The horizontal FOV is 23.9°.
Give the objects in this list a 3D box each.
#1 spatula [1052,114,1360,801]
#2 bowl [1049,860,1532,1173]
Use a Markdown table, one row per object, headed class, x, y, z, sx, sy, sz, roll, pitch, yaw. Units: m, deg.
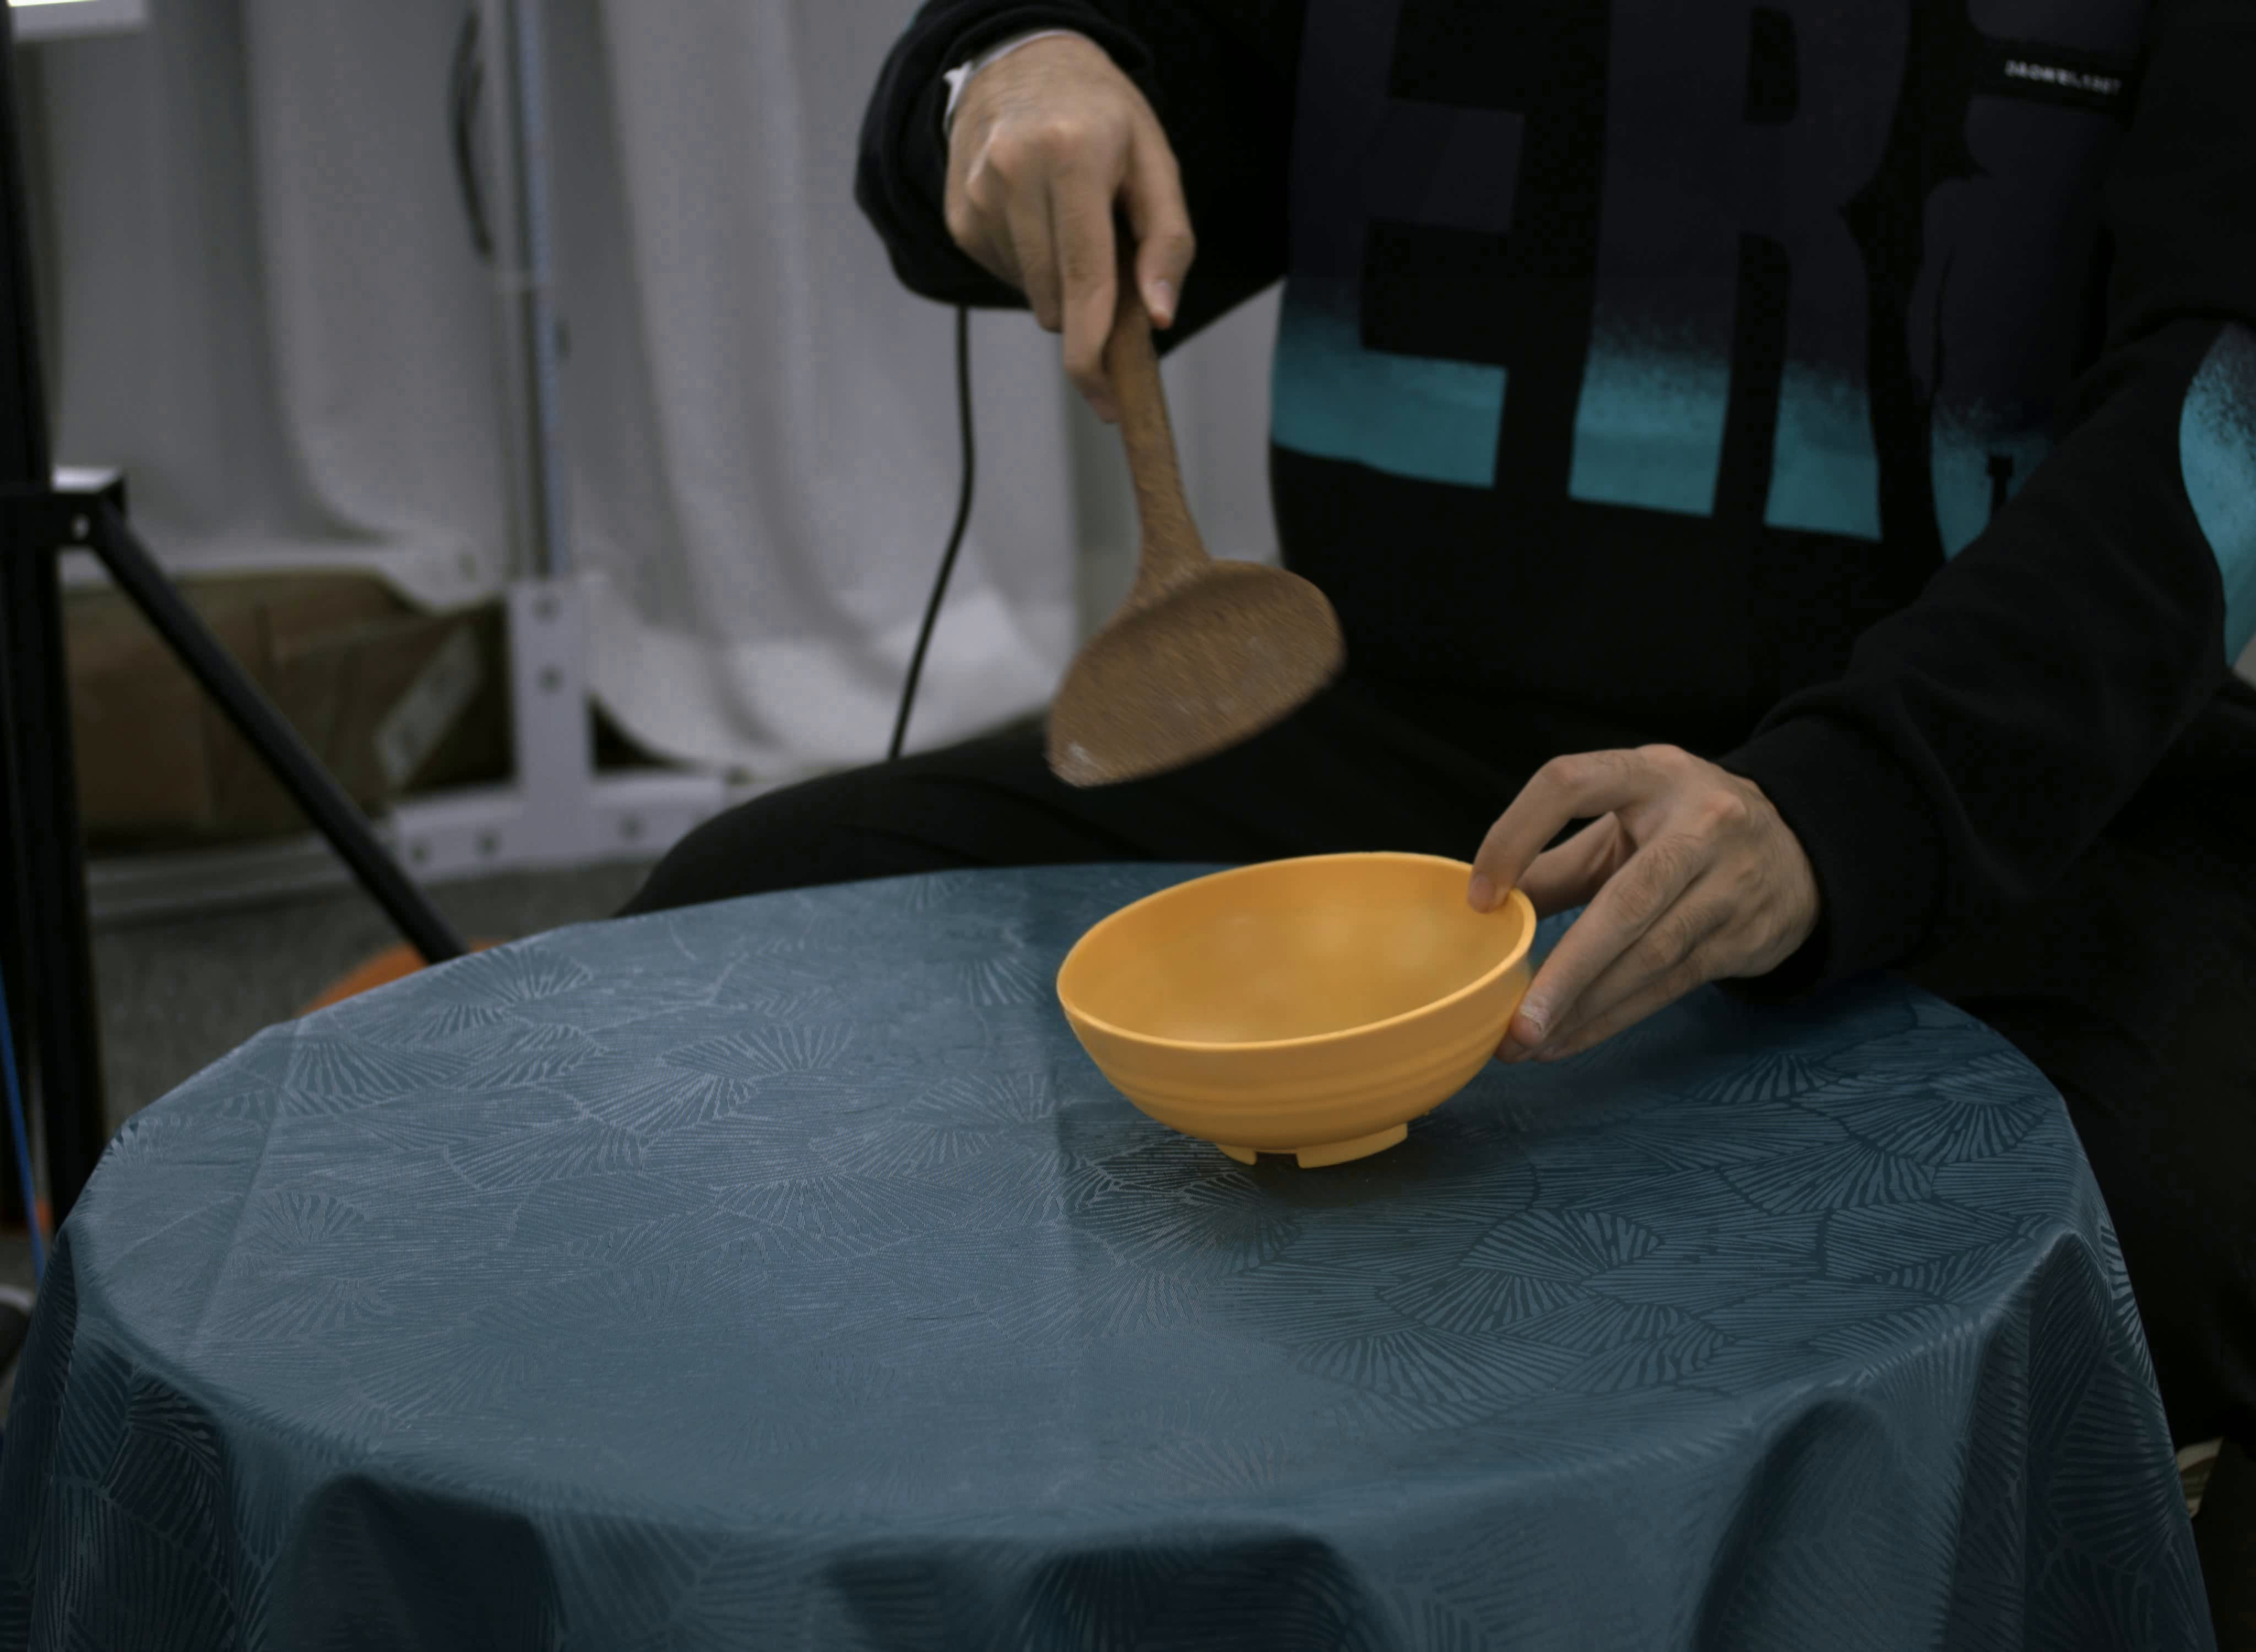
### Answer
| class | x | y | z | sx | sy | sz | roll | pitch | yaw |
| --- | --- | --- | --- | --- | --- | --- | --- | --- | --- |
| spatula | 0.007 | -0.131 | 1.707 | 0.096 | 0.015 | 0.391 | -23 | 37 | 10 |
| bowl | 0.051 | 0.064 | 1.589 | 0.145 | 0.060 | 0.146 | -6 | 20 | 1 |
